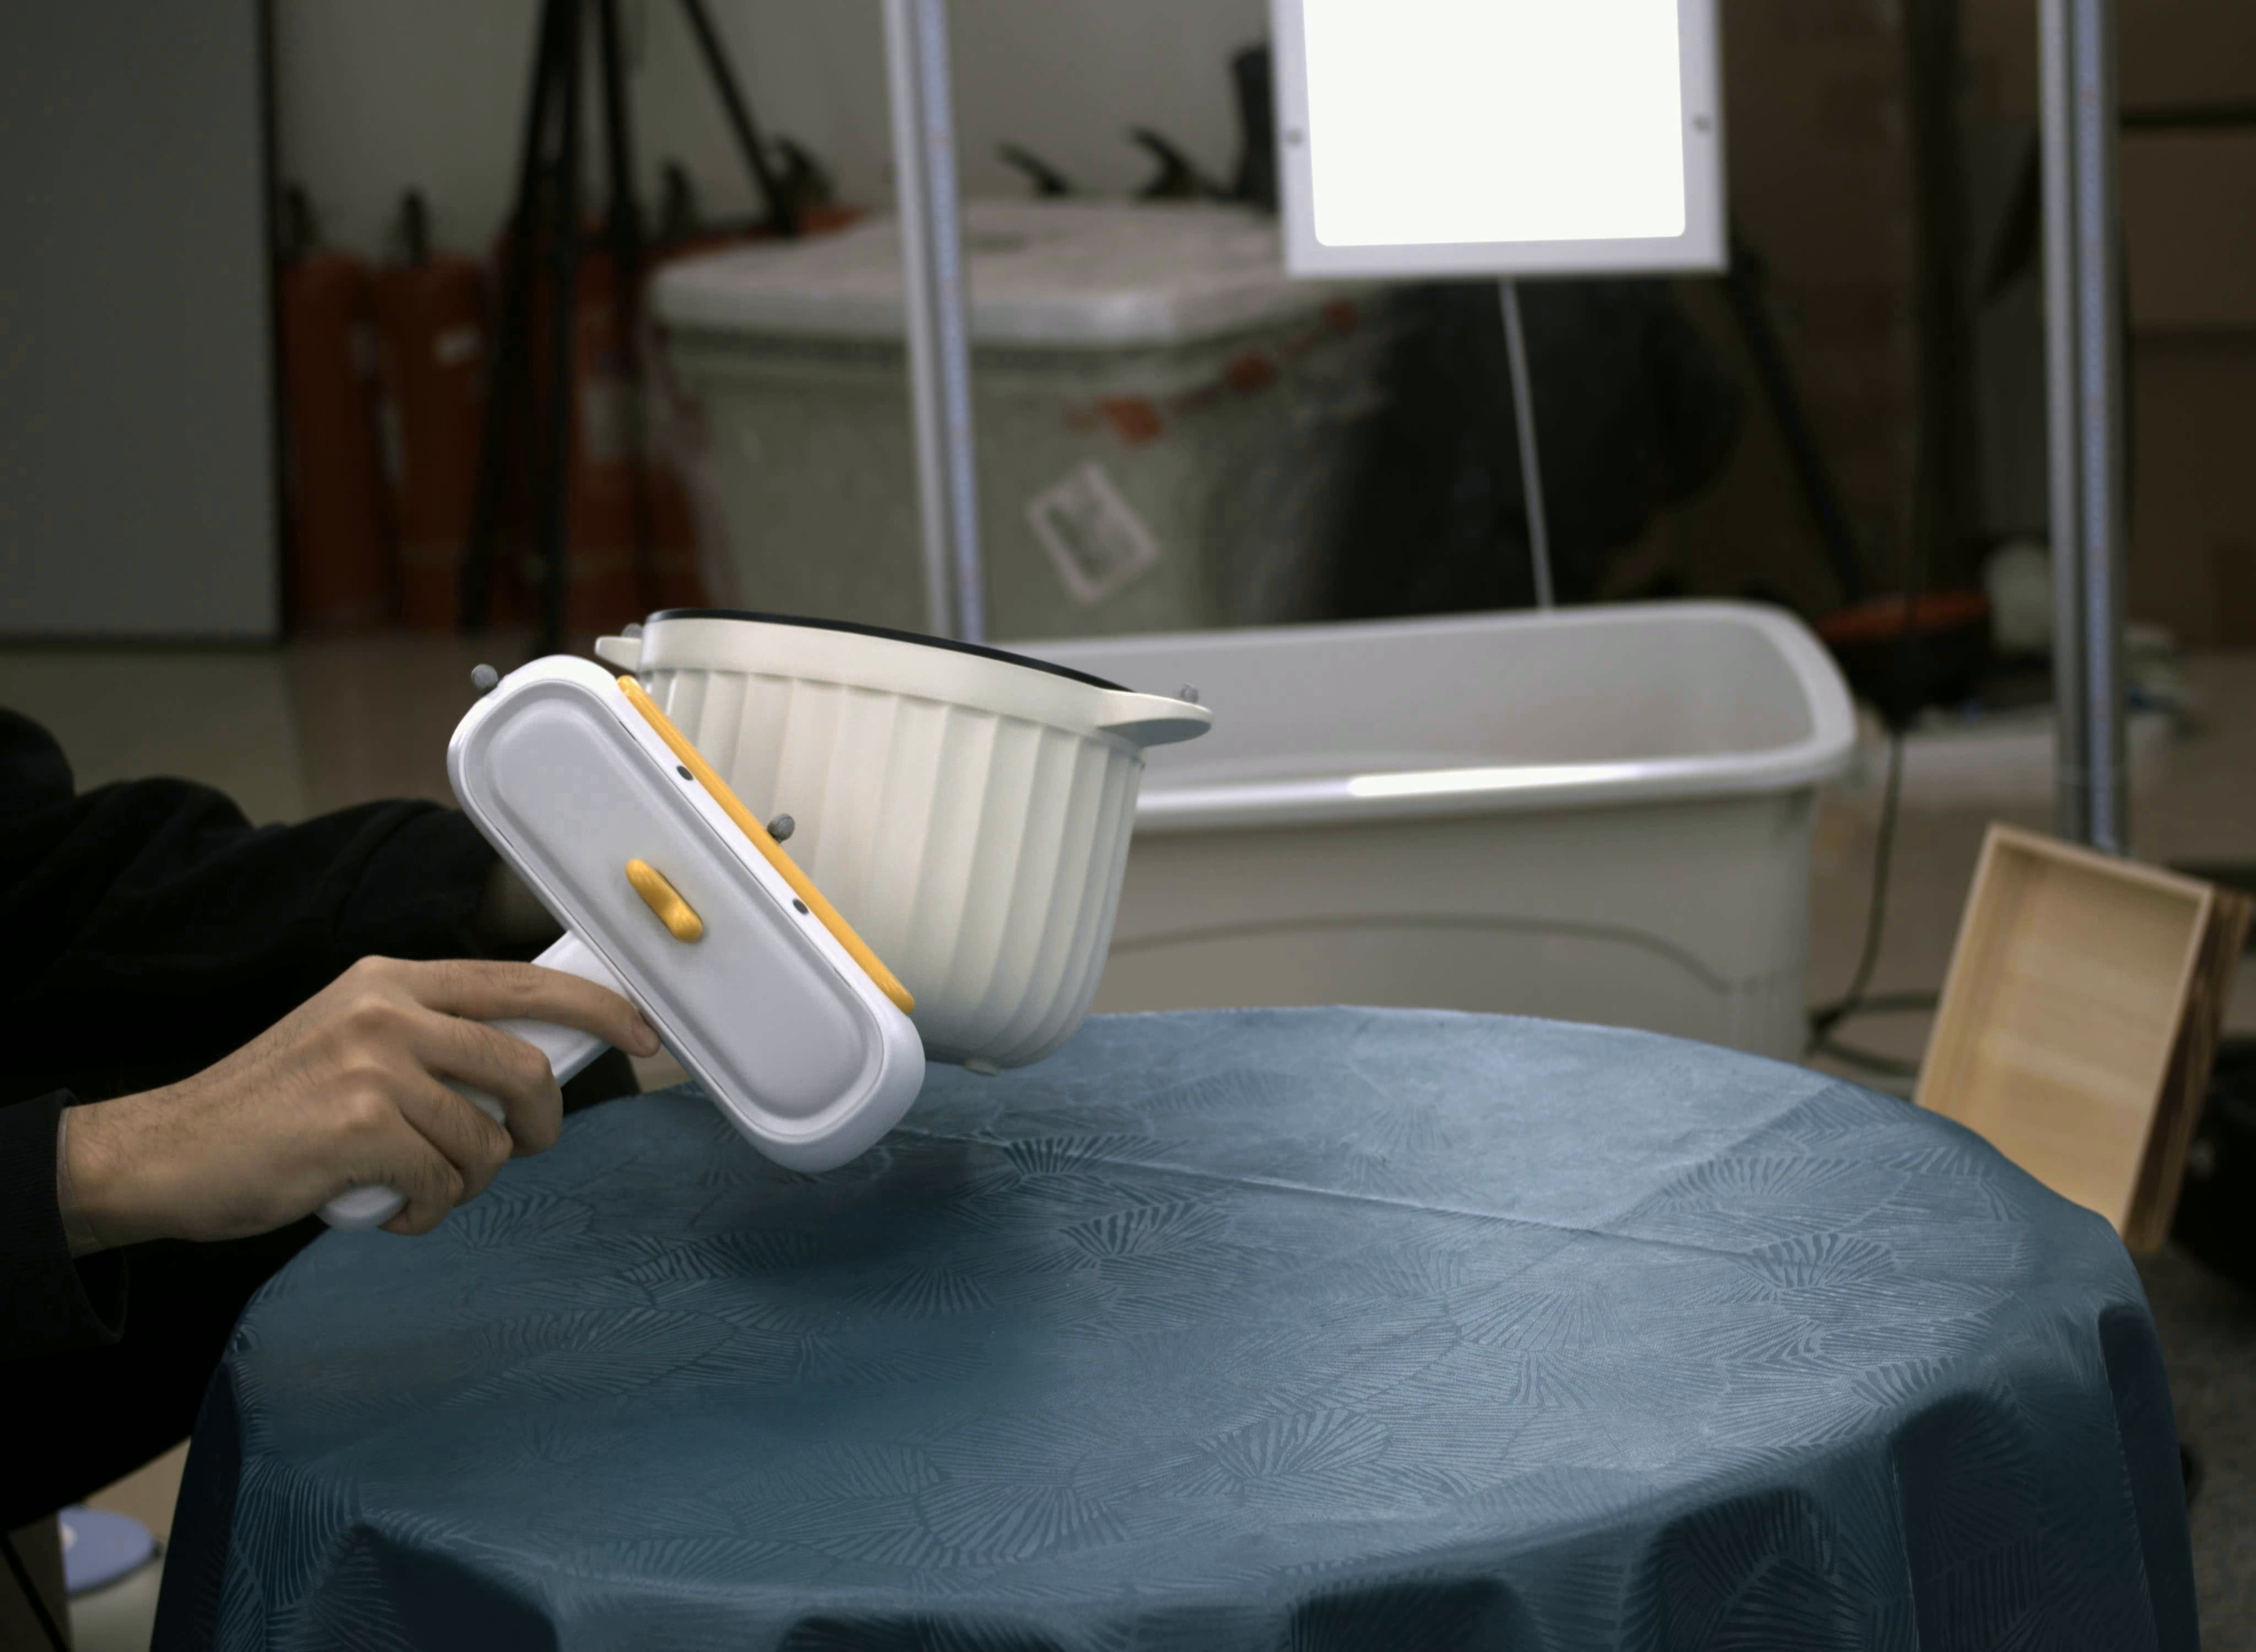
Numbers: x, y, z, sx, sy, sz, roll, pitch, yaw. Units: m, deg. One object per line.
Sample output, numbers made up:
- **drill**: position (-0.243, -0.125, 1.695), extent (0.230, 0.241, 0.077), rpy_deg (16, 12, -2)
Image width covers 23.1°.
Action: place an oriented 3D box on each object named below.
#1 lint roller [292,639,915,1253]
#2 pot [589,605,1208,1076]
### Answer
- **lint roller**: position (-0.189, 0.061, 1.763), extent (0.191, 0.193, 0.074), rpy_deg (-44, -5, -9)
- **pot**: position (-0.091, 0.009, 1.921), extent (0.244, 0.143, 0.187), rpy_deg (8, -3, 27)
